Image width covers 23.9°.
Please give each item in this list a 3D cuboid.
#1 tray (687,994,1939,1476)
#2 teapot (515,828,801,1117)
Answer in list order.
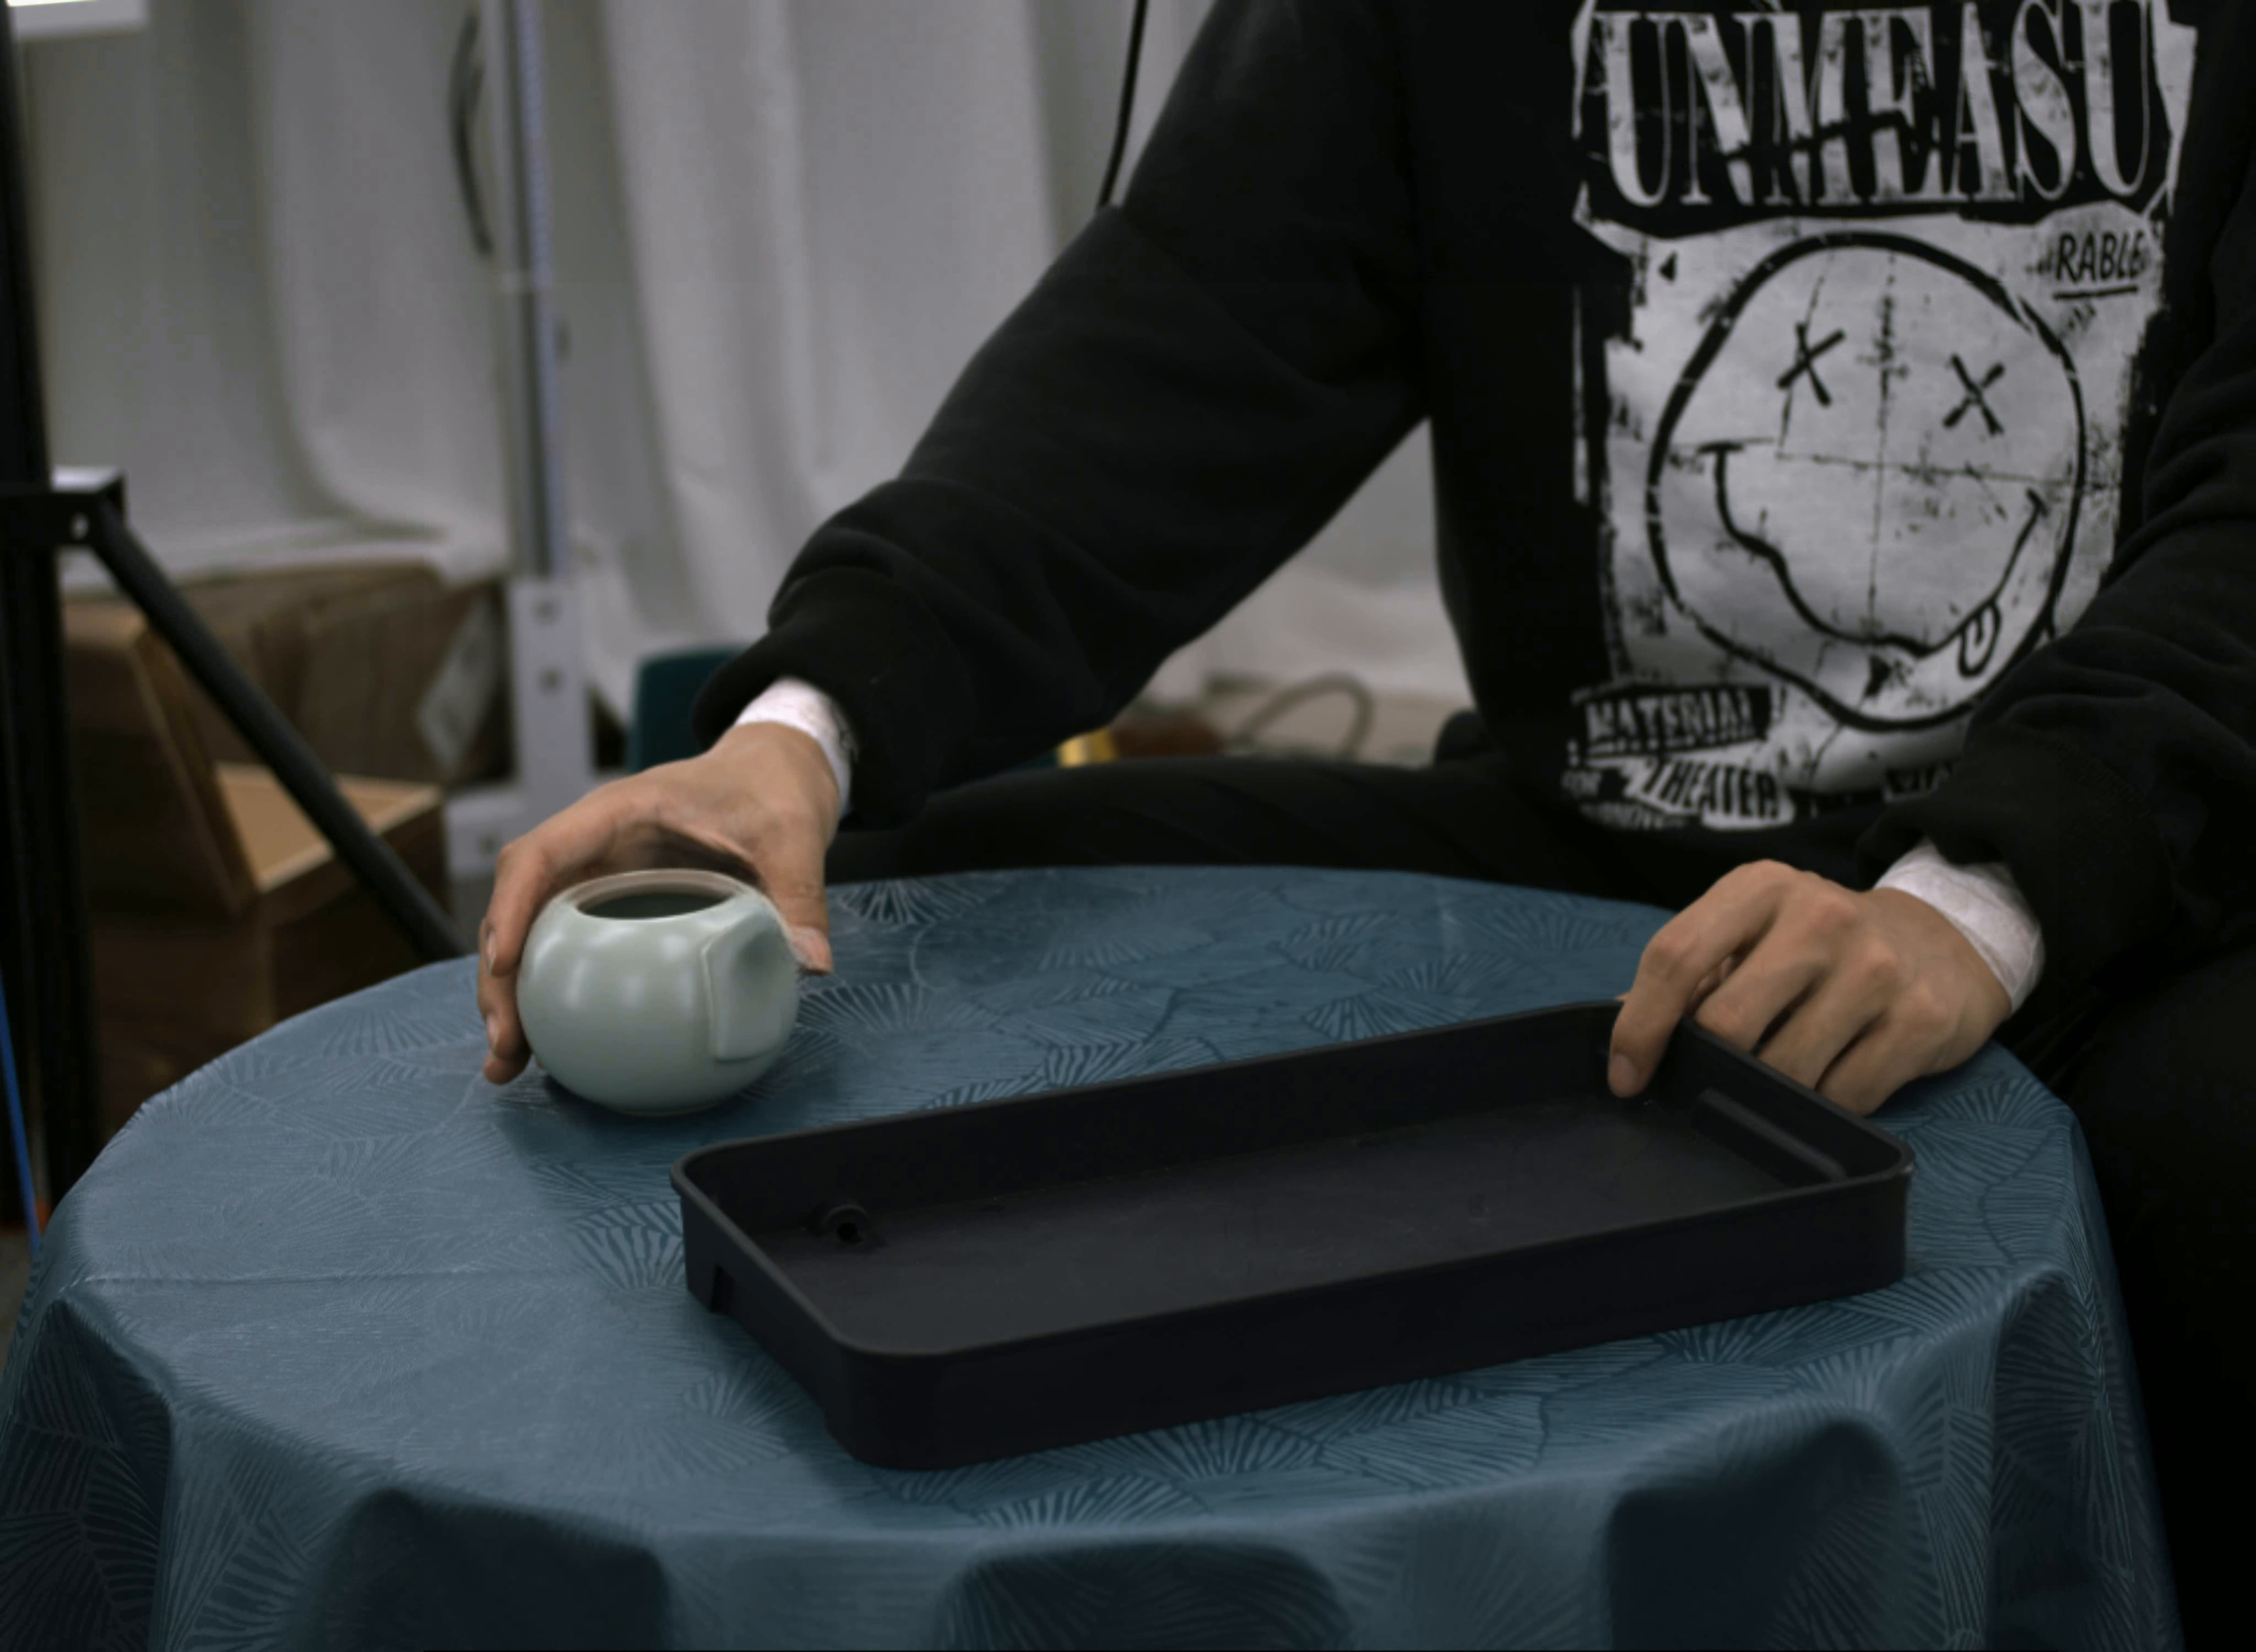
[{"bbox_3d":[0.051,0.109,1.478,0.312,0.037,0.188,-9,17,-21],"label":"tray"},{"bbox_3d":[-0.145,0.049,1.654,0.086,0.075,0.147,-14,21,-35],"label":"teapot"}]
